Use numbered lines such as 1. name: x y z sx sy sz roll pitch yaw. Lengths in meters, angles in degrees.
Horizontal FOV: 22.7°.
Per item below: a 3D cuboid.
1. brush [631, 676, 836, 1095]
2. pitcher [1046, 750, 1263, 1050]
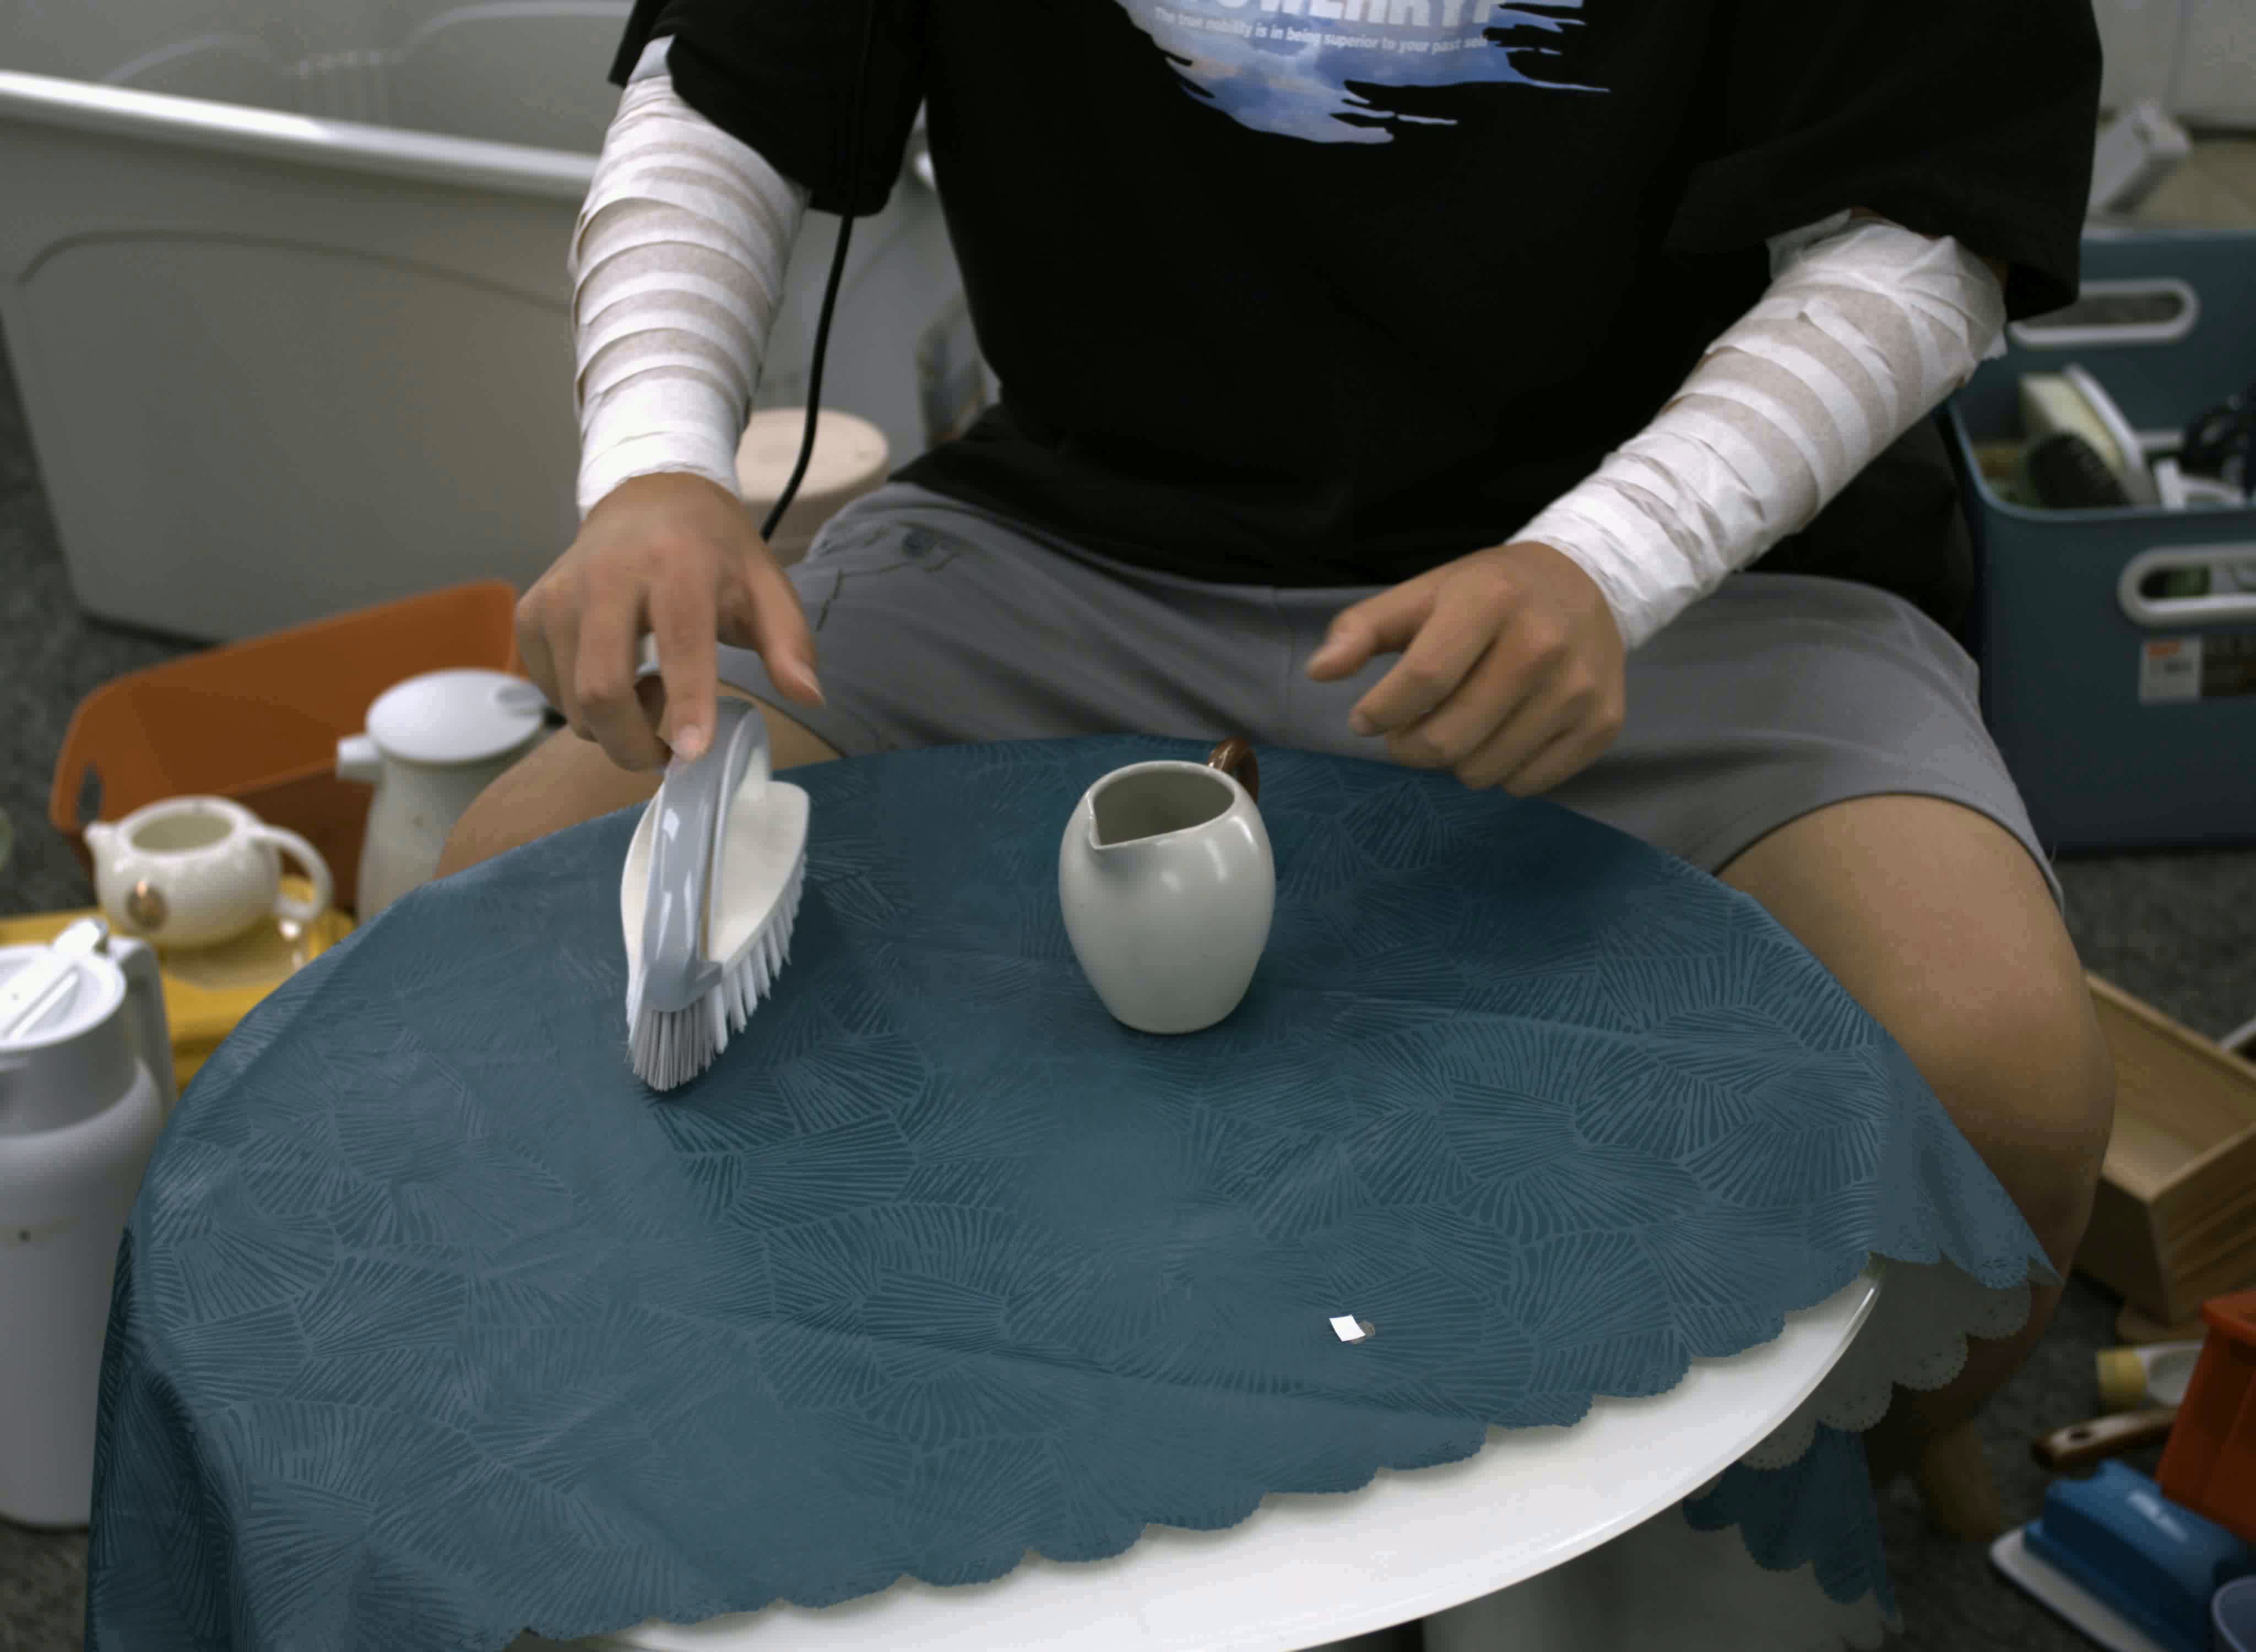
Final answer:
1. brush: -0.147 0.013 1.984 0.061 0.093 0.179 0 31 10
2. pitcher: 0.013 0.026 1.953 0.075 0.087 0.121 16 33 26
